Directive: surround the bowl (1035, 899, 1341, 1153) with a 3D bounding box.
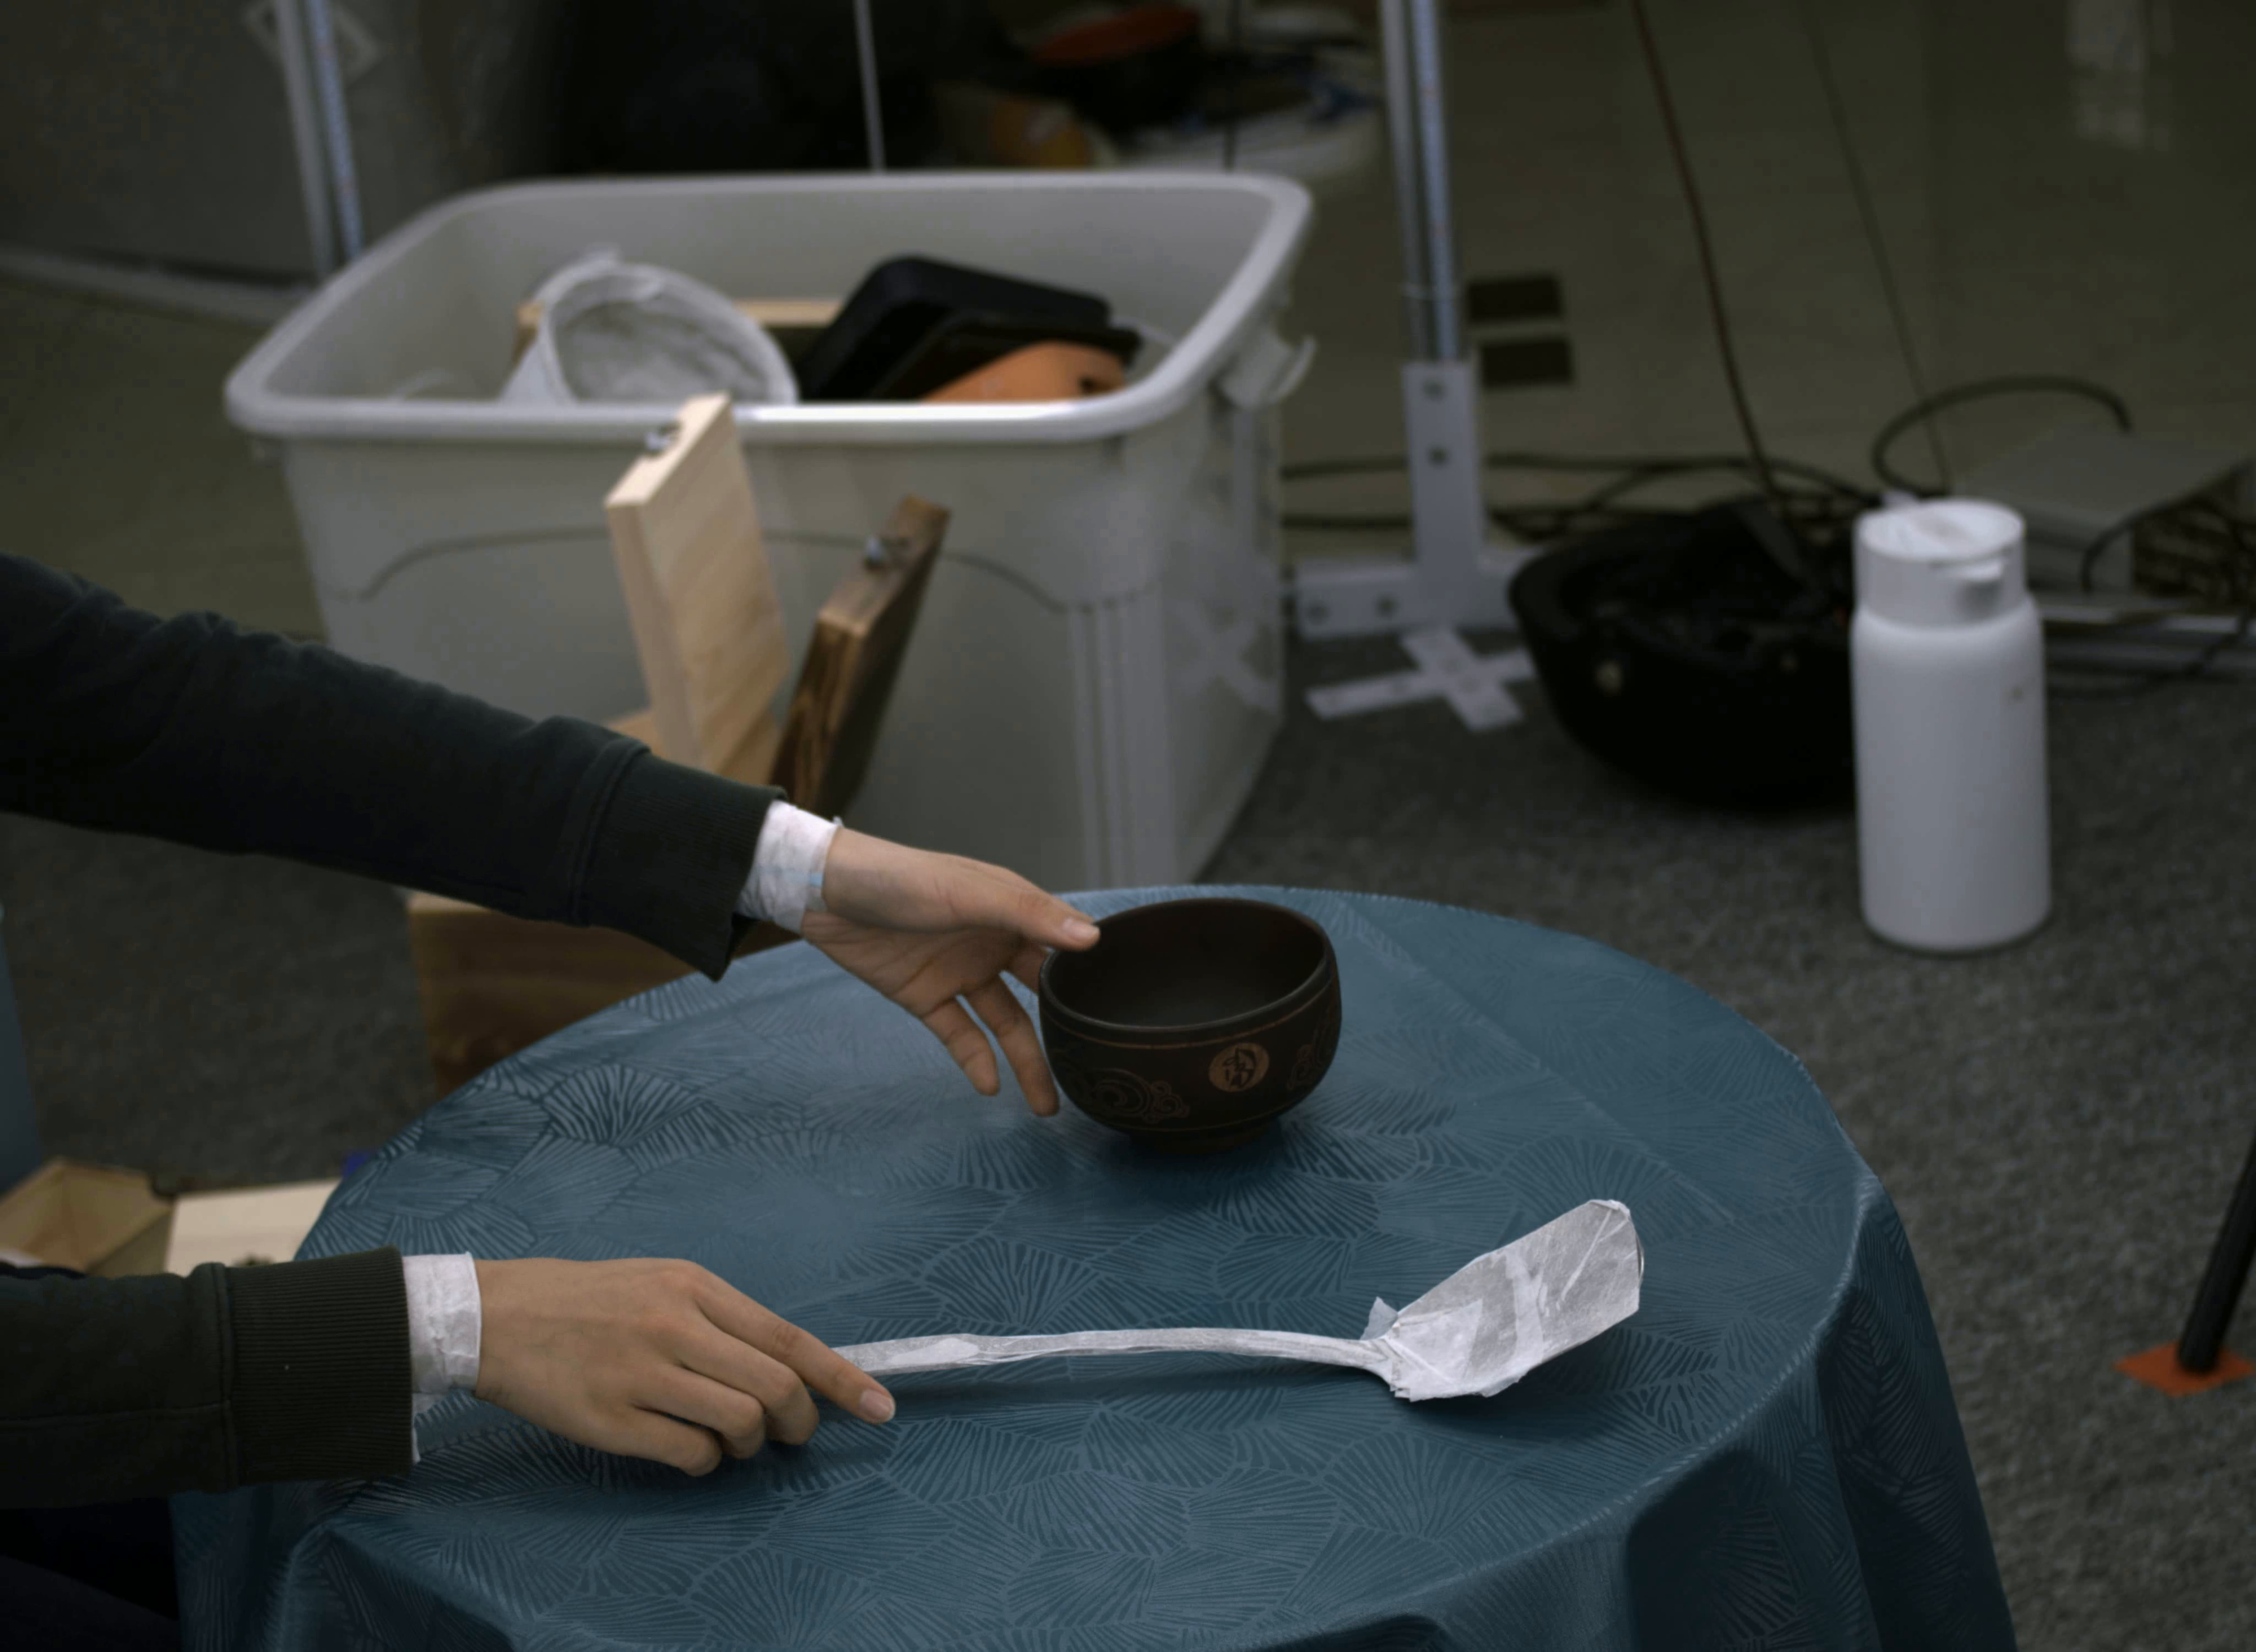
[{"bbox_3d":[0.025,0.083,2.182,0.118,0.071,0.116,-6,23,3],"label":"bowl"}]

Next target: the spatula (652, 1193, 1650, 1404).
[{"bbox_3d":[0.004,0.179,2.020,0.364,0.045,0.097,-3,27,6],"label":"spatula"}]
